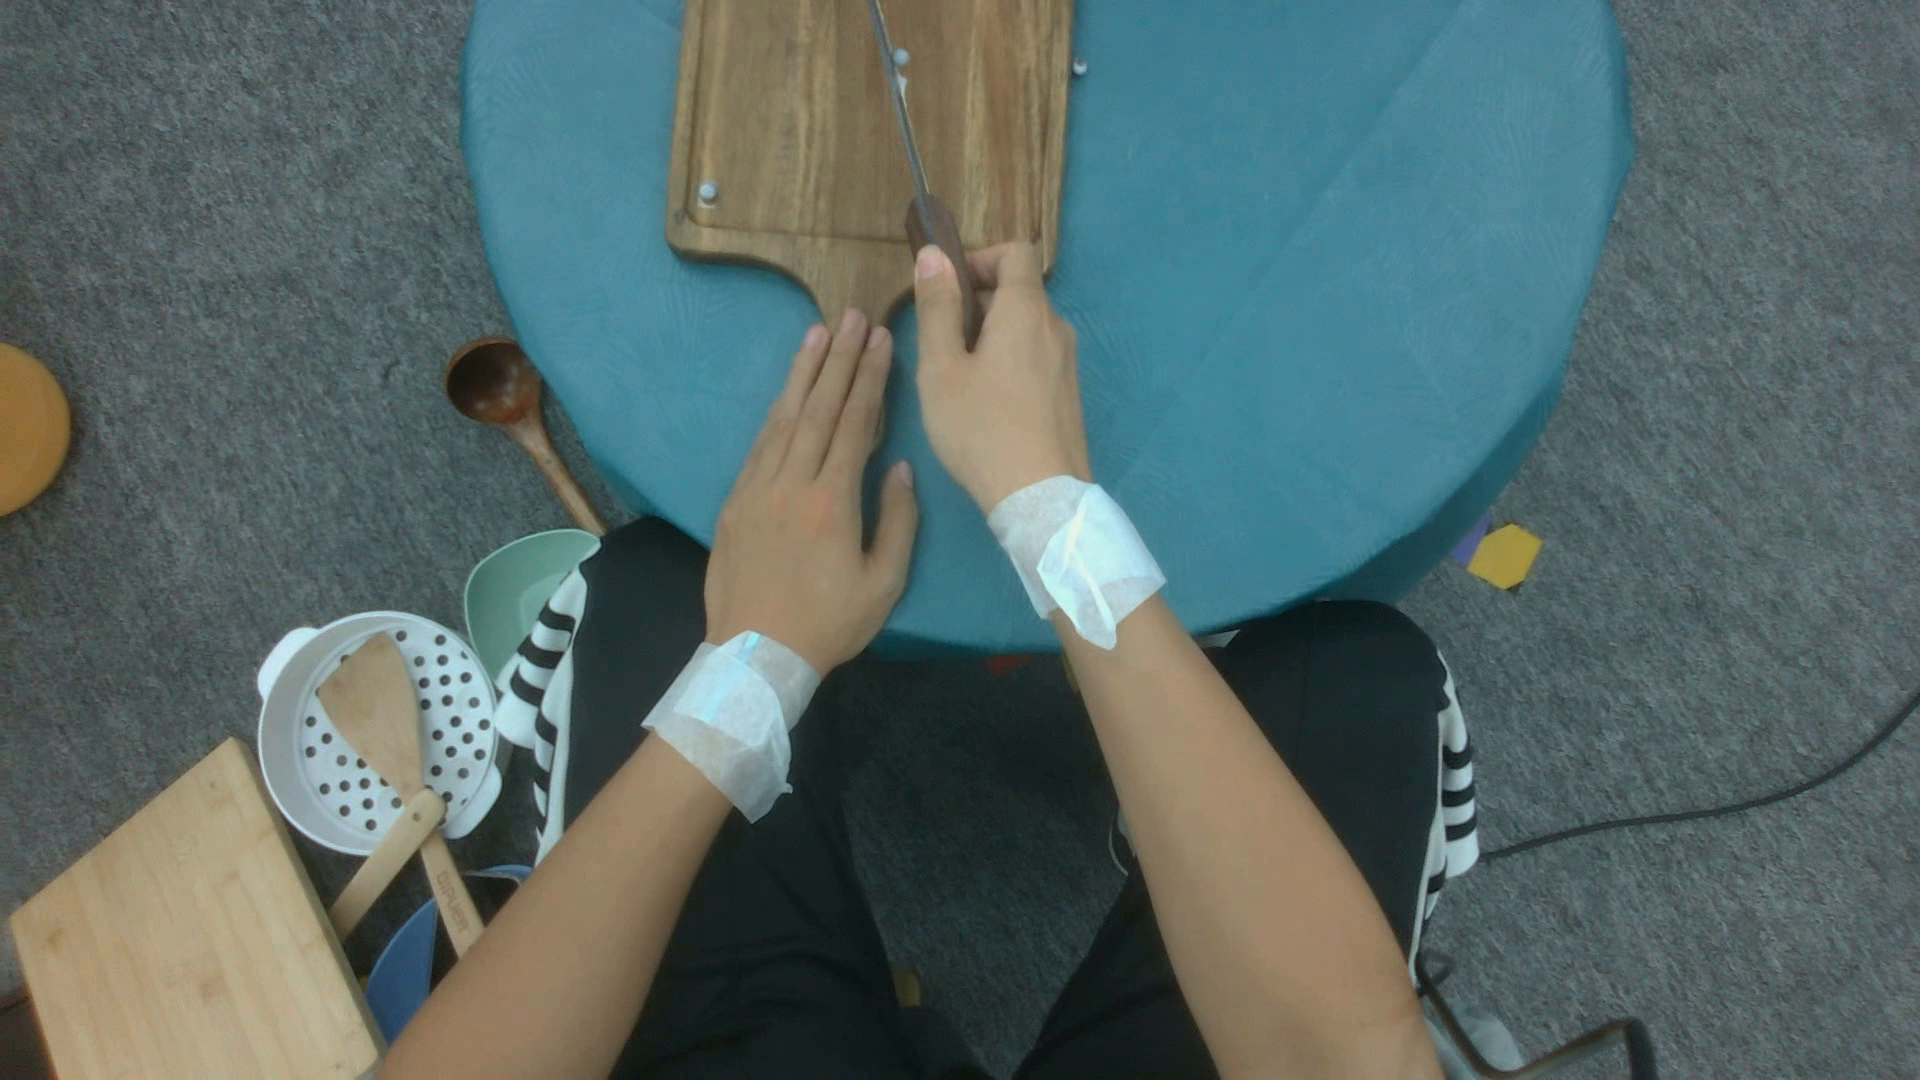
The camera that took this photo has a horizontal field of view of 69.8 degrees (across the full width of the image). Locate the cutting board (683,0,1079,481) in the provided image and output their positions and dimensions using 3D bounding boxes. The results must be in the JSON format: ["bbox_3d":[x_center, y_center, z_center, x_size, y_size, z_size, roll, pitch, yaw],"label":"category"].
[{"bbox_3d":[-0.041,-0.206,0.720,0.201,0.023,0.352,3,83,-1],"label":"cutting board"}]

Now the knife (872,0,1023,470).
[{"bbox_3d":[-0.014,-0.169,0.669,0.024,0.068,0.300,-16,77,6],"label":"knife"}]
